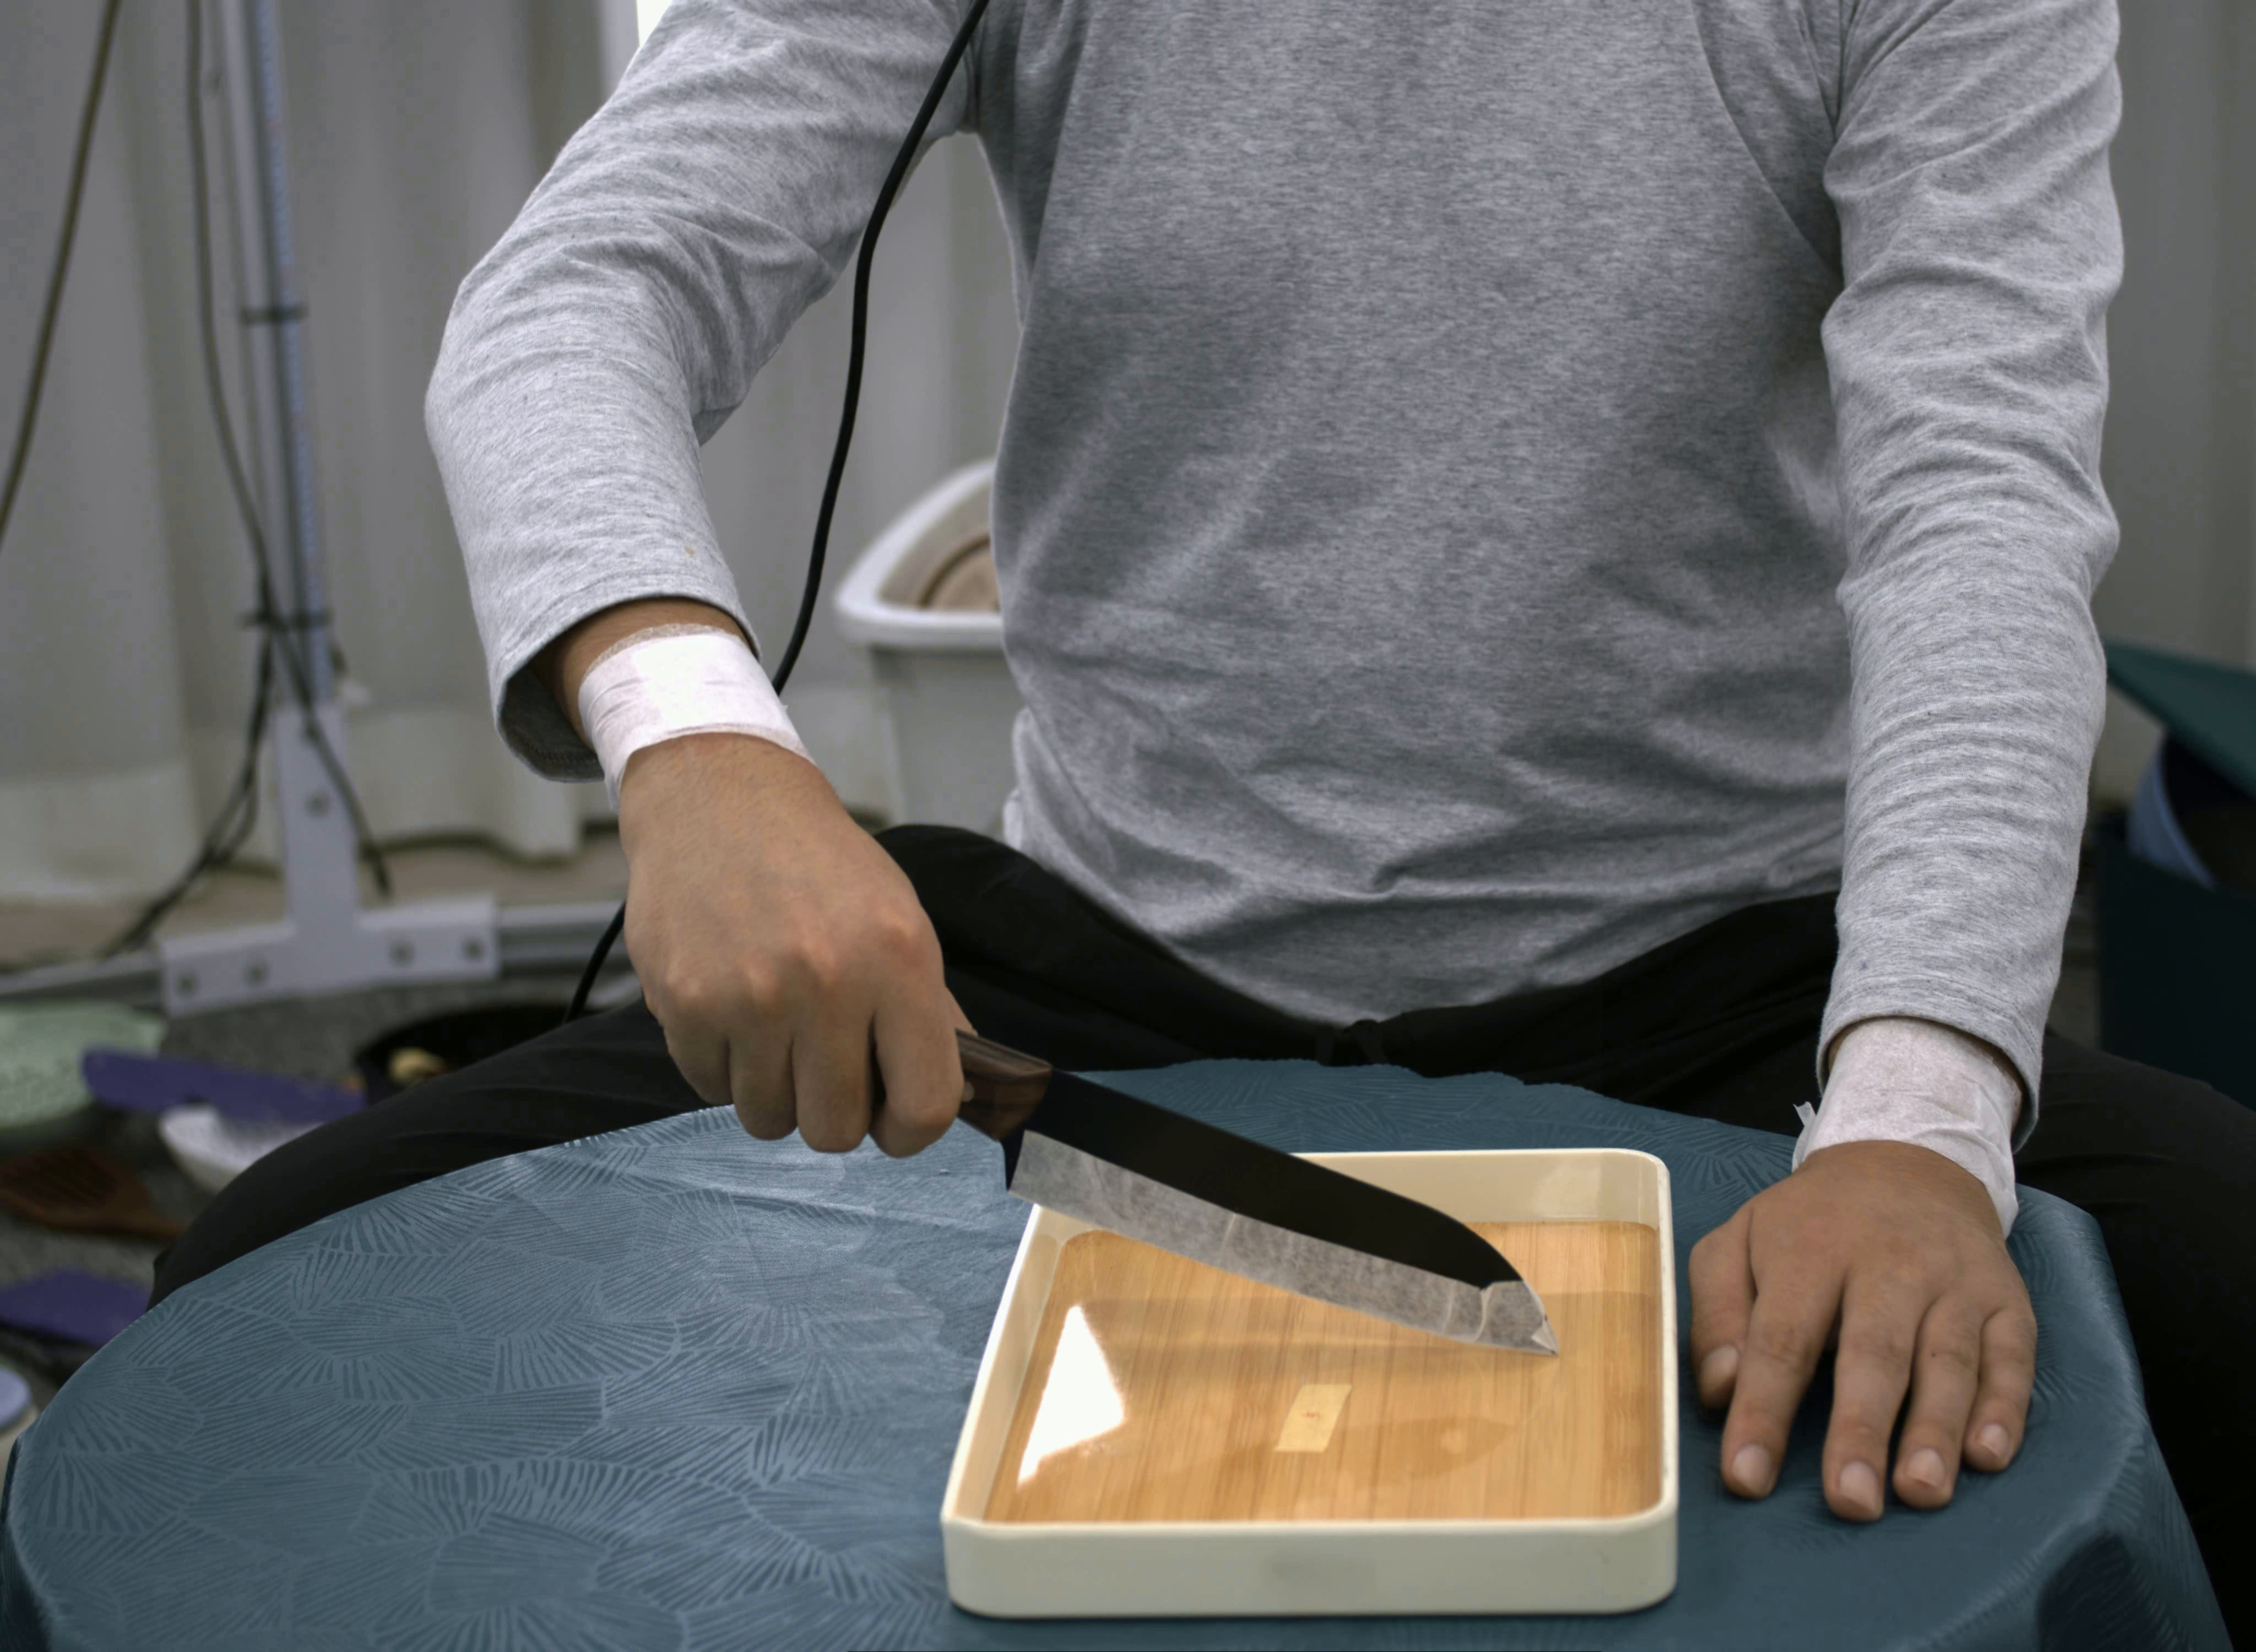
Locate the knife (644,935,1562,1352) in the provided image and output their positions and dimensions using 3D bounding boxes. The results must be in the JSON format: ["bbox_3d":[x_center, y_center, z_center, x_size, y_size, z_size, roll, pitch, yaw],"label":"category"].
[{"bbox_3d":[-0.009,0.091,1.566,0.289,0.050,0.020,22,26,11],"label":"knife"}]

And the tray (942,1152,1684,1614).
[{"bbox_3d":[0.058,0.151,1.521,0.191,0.027,0.302,-1,15,6],"label":"tray"}]
